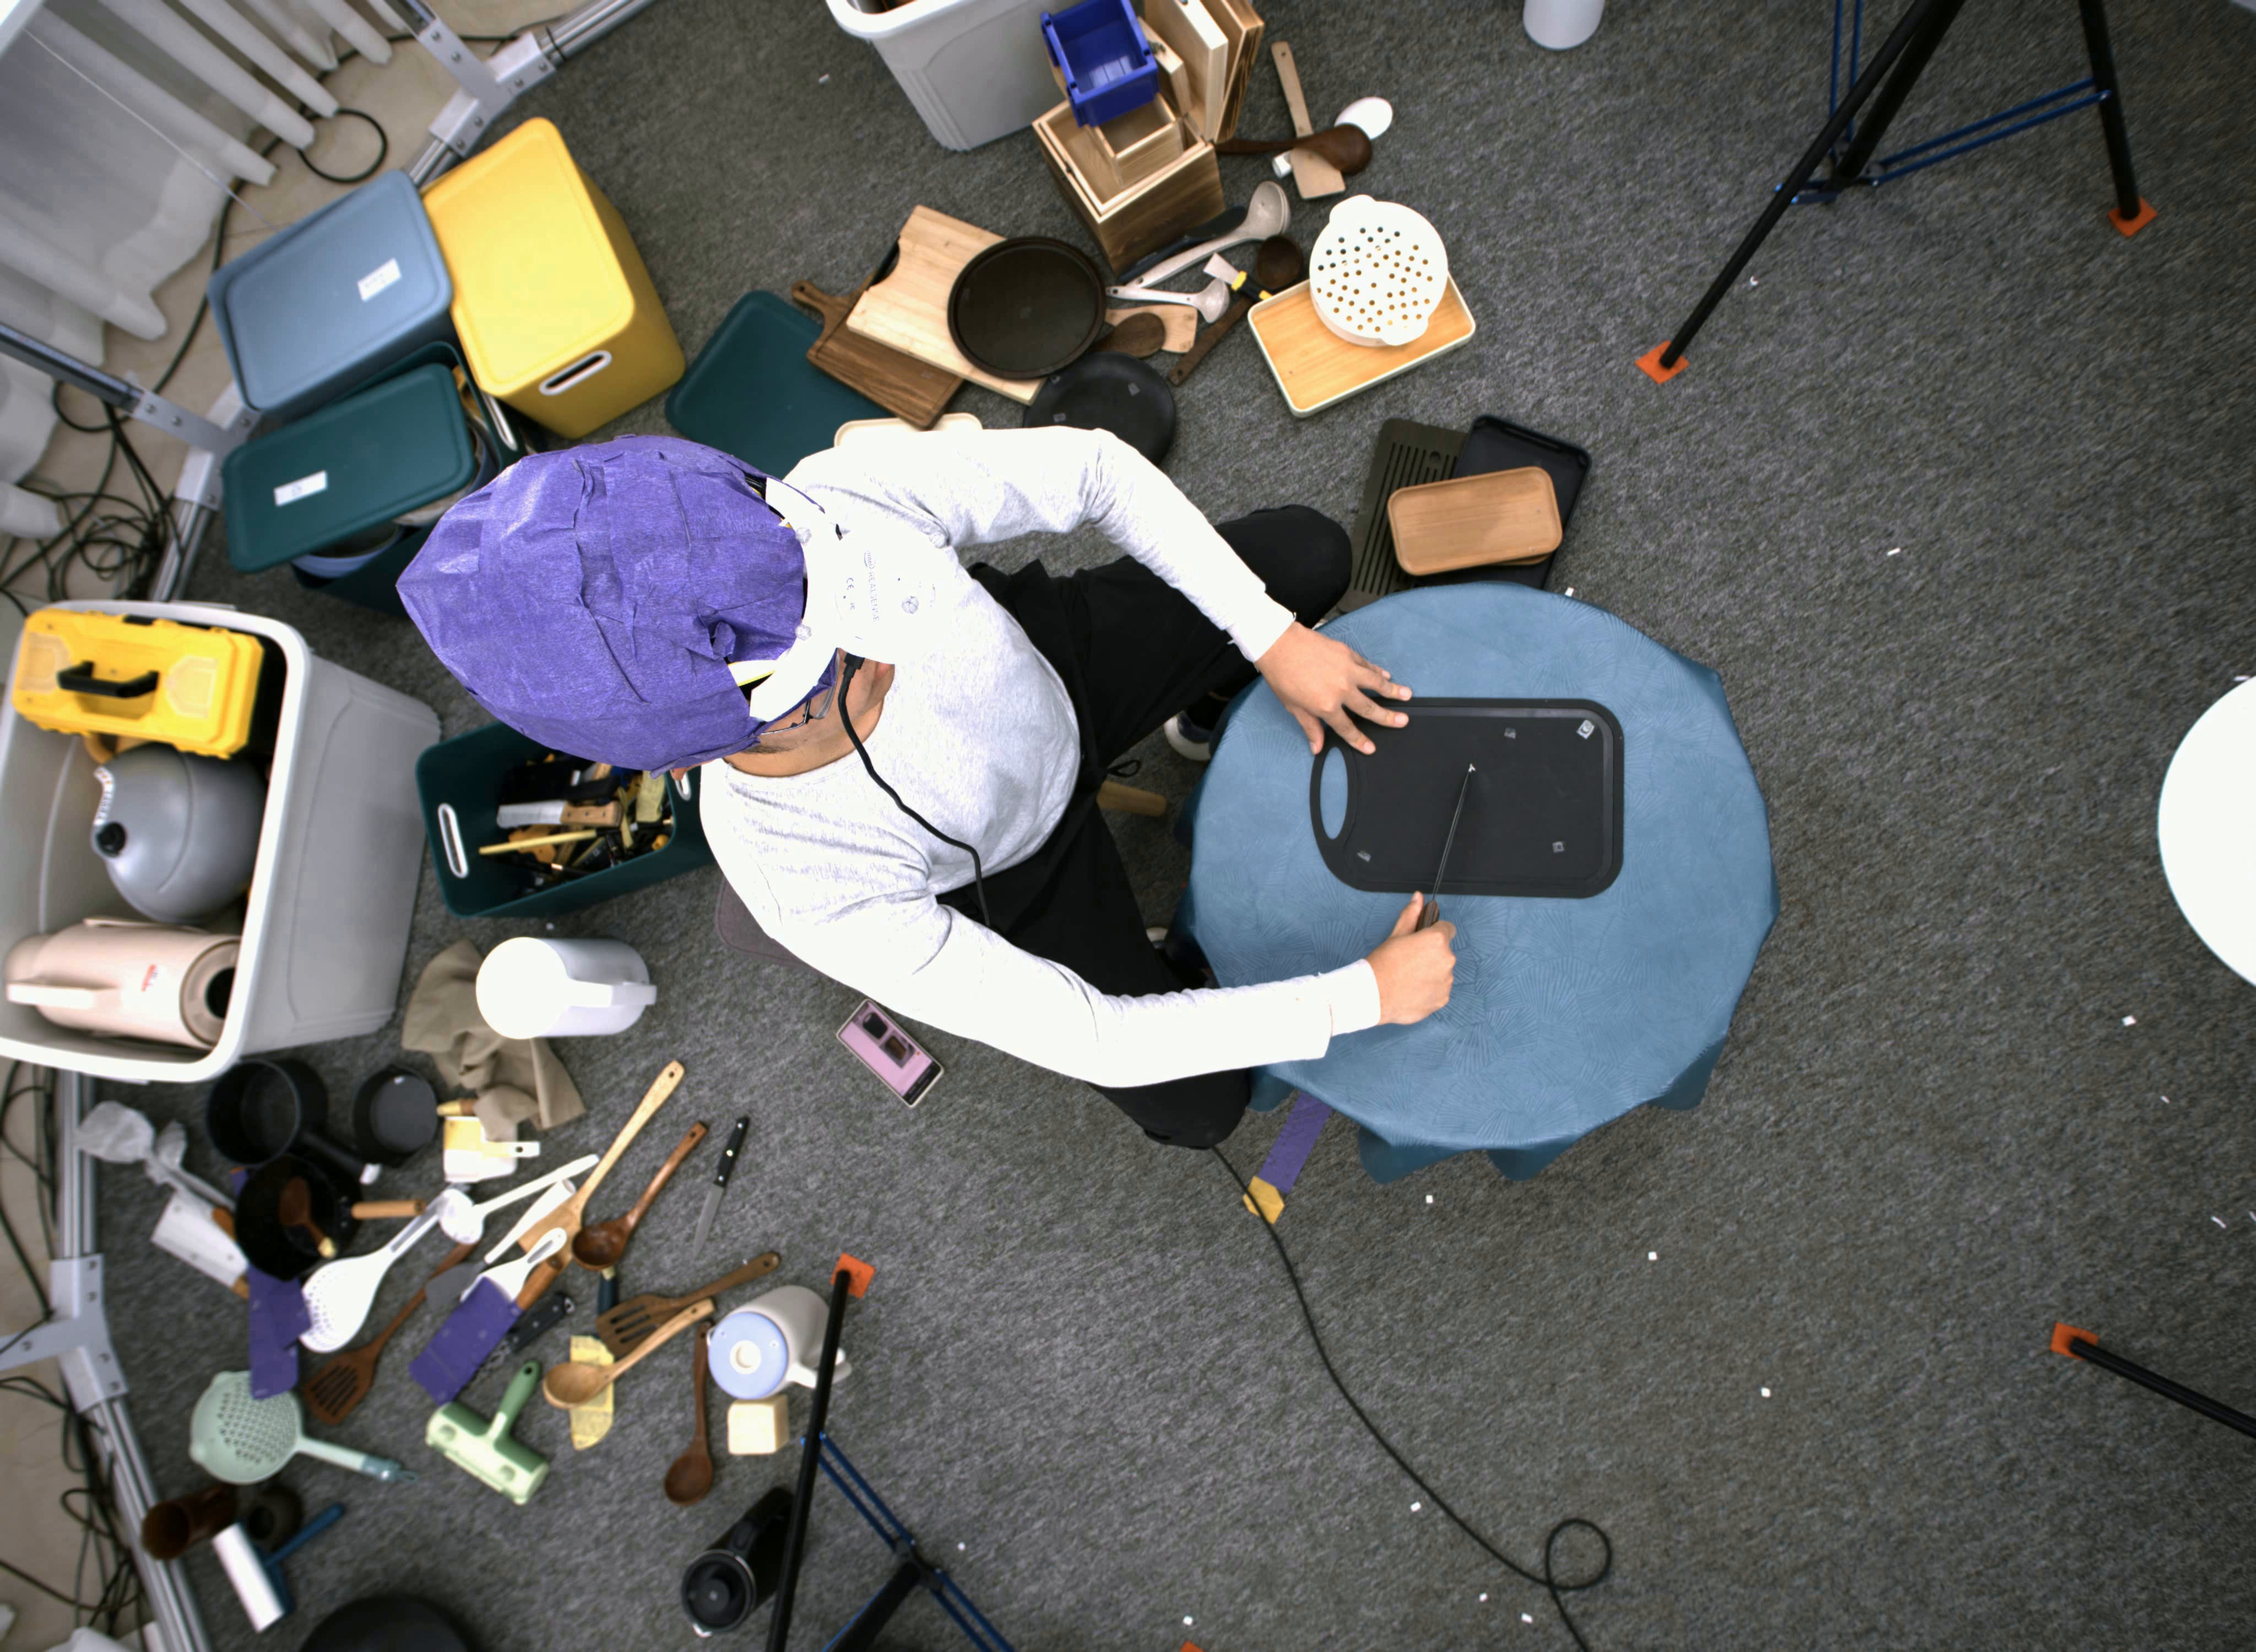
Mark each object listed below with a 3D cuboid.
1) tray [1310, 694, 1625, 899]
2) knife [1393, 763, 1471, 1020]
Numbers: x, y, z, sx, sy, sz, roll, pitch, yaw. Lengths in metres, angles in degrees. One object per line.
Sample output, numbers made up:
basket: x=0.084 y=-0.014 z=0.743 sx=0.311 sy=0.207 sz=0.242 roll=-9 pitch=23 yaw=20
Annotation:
tray: x=0.354 y=-0.035 z=1.447 sx=0.326 sy=0.010 sz=0.210 roll=2 pitch=87 yaw=11
knife: x=0.315 y=0.061 z=1.405 sx=0.020 sy=0.051 sz=0.285 roll=17 pitch=75 yaw=8
